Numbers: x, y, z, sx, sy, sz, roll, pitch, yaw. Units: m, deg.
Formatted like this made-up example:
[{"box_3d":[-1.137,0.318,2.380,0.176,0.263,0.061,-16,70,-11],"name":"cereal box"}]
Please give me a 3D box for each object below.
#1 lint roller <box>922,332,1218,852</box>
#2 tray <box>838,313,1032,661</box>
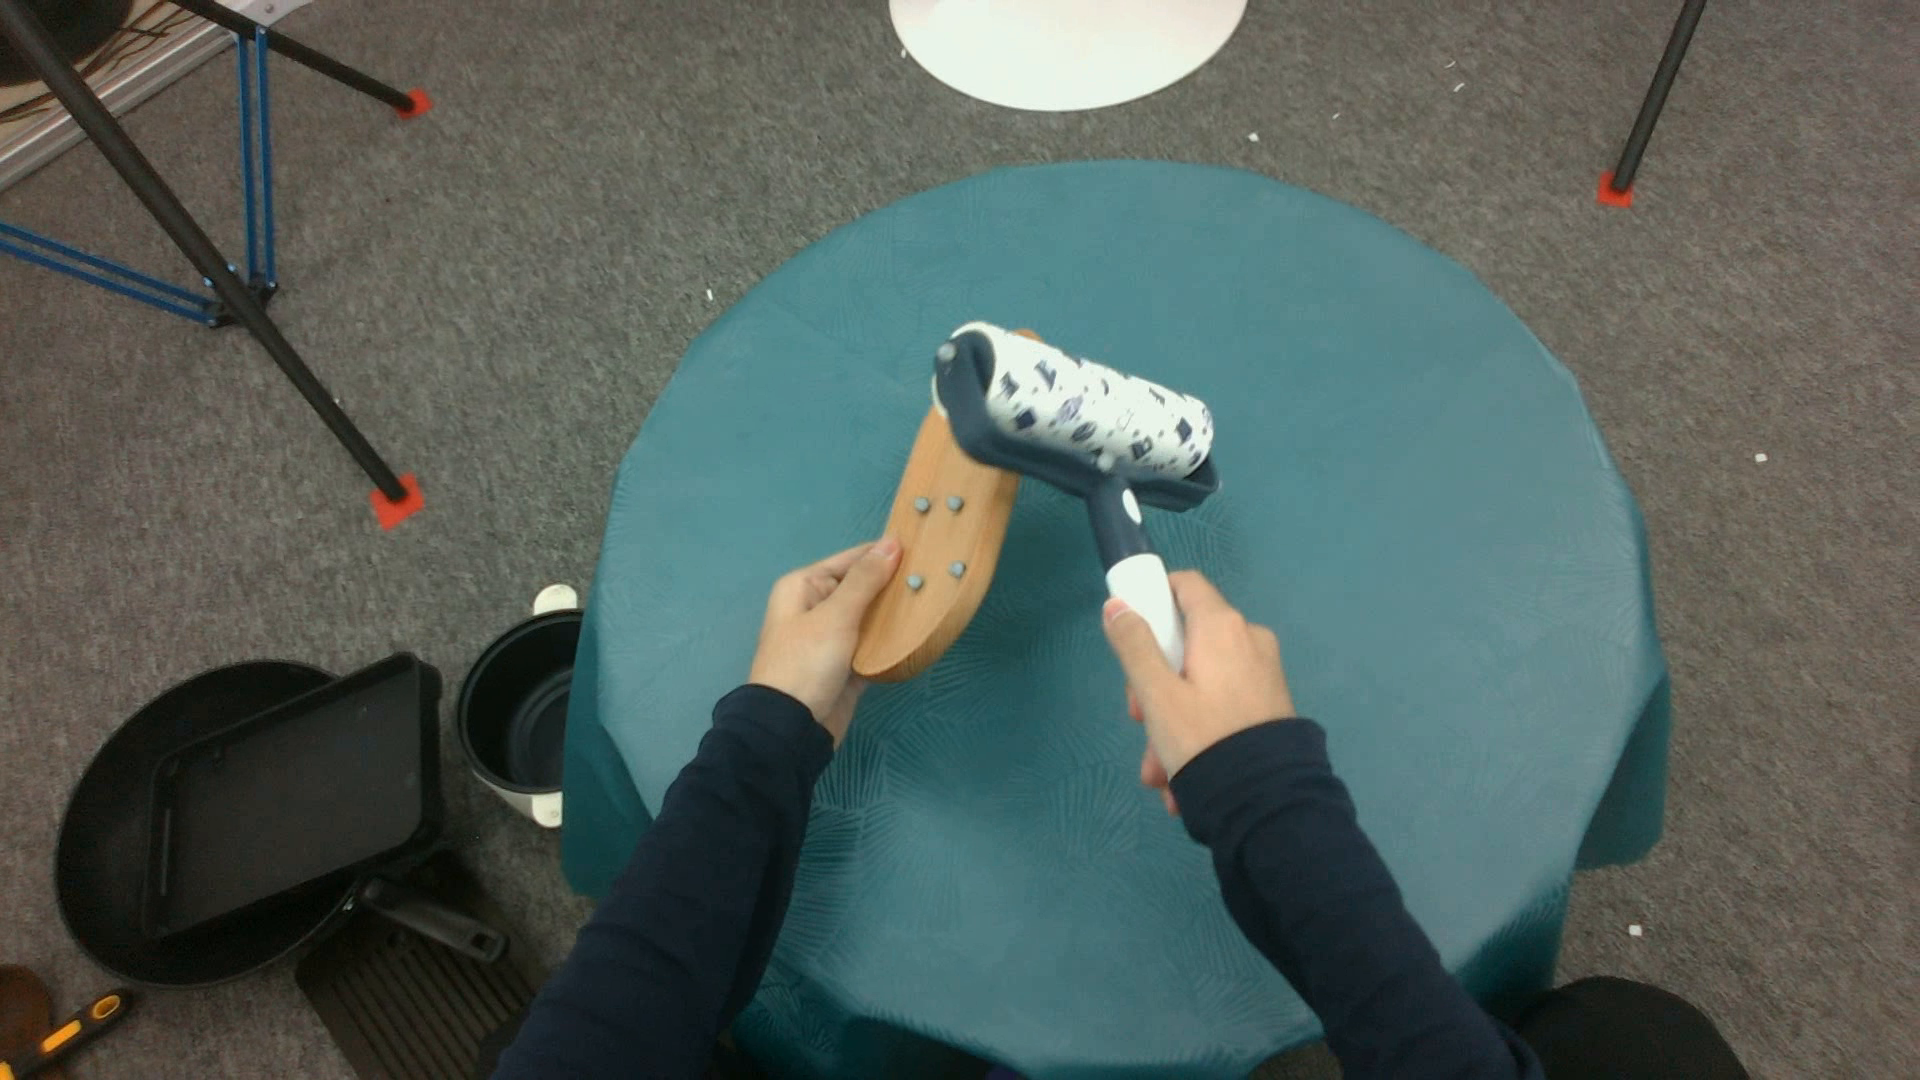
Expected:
[{"box_3d":[0.080,0.022,0.647,0.176,0.050,0.248,10,53,-42],"name":"lint roller"},{"box_3d":[-0.010,-0.033,0.726,0.101,0.020,0.232,-29,33,39],"name":"tray"}]
